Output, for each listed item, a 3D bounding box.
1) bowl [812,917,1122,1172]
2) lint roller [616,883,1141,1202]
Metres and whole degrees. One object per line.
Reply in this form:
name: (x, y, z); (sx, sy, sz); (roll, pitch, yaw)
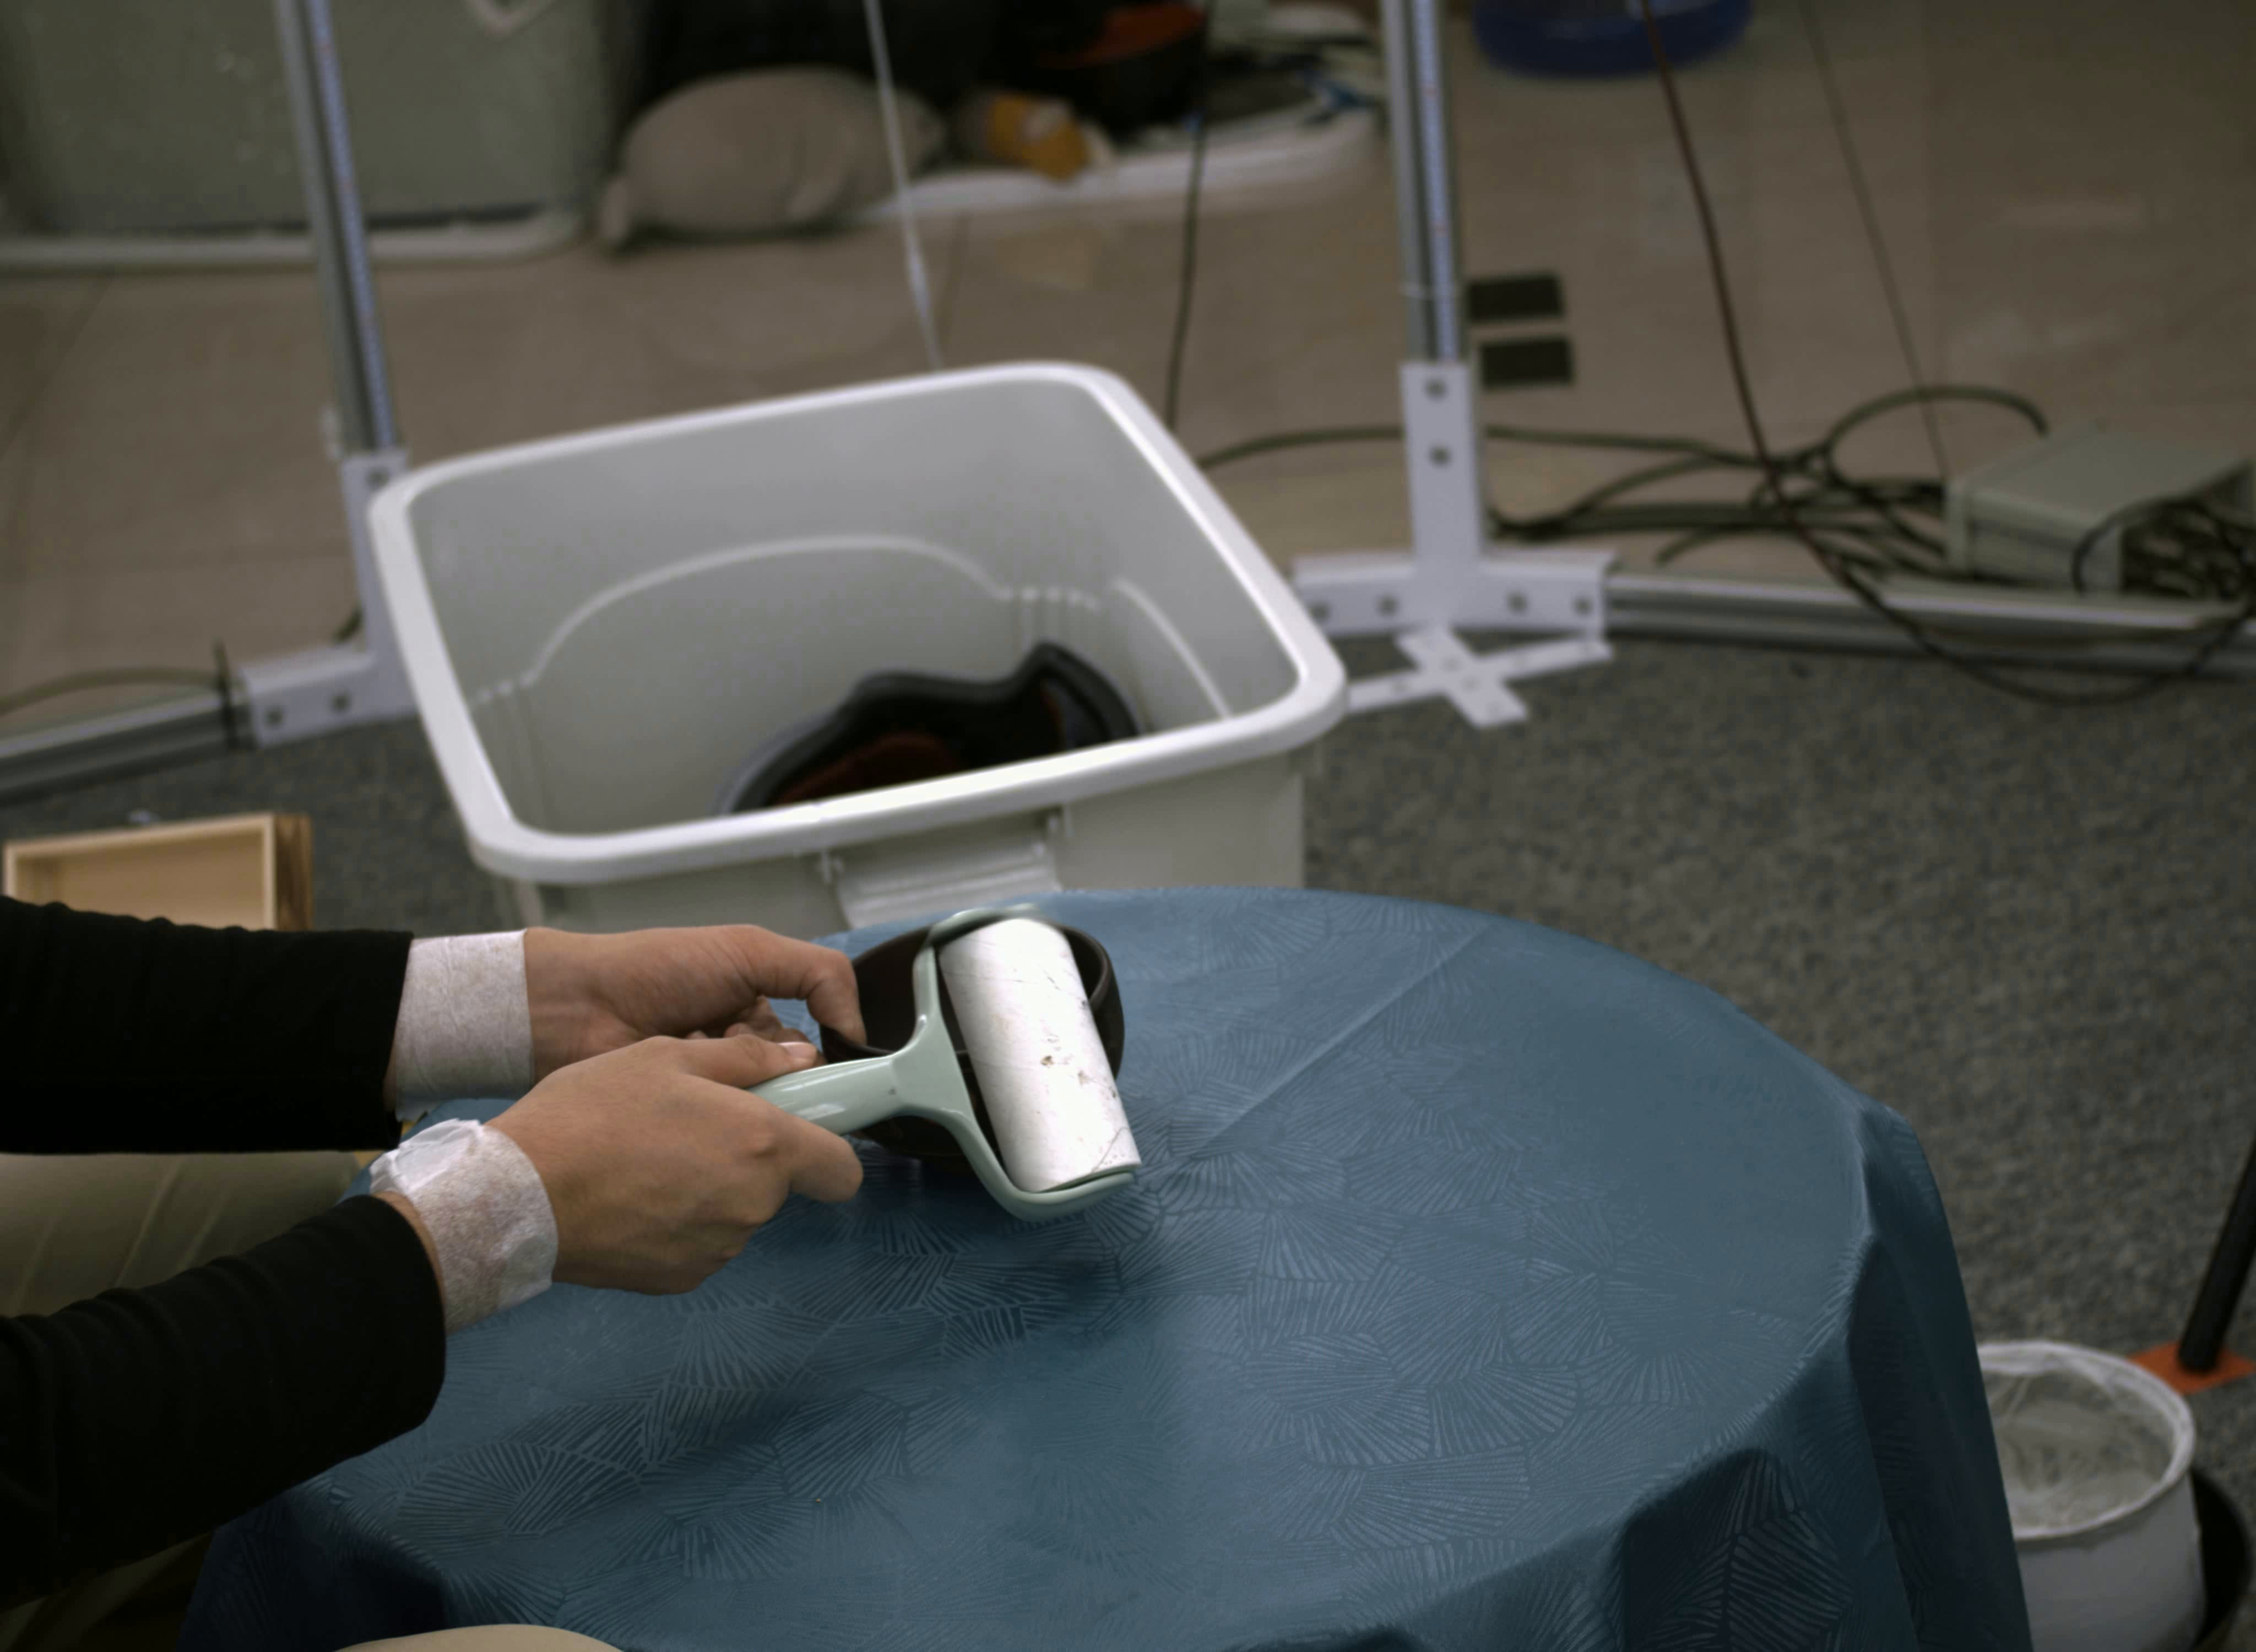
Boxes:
bowl: (-0.059, 0.090, 2.179); (0.118, 0.071, 0.116); (-8, 27, 4)
lint roller: (-0.094, 0.092, 2.052); (0.197, 0.116, 0.049); (-13, -9, -33)
